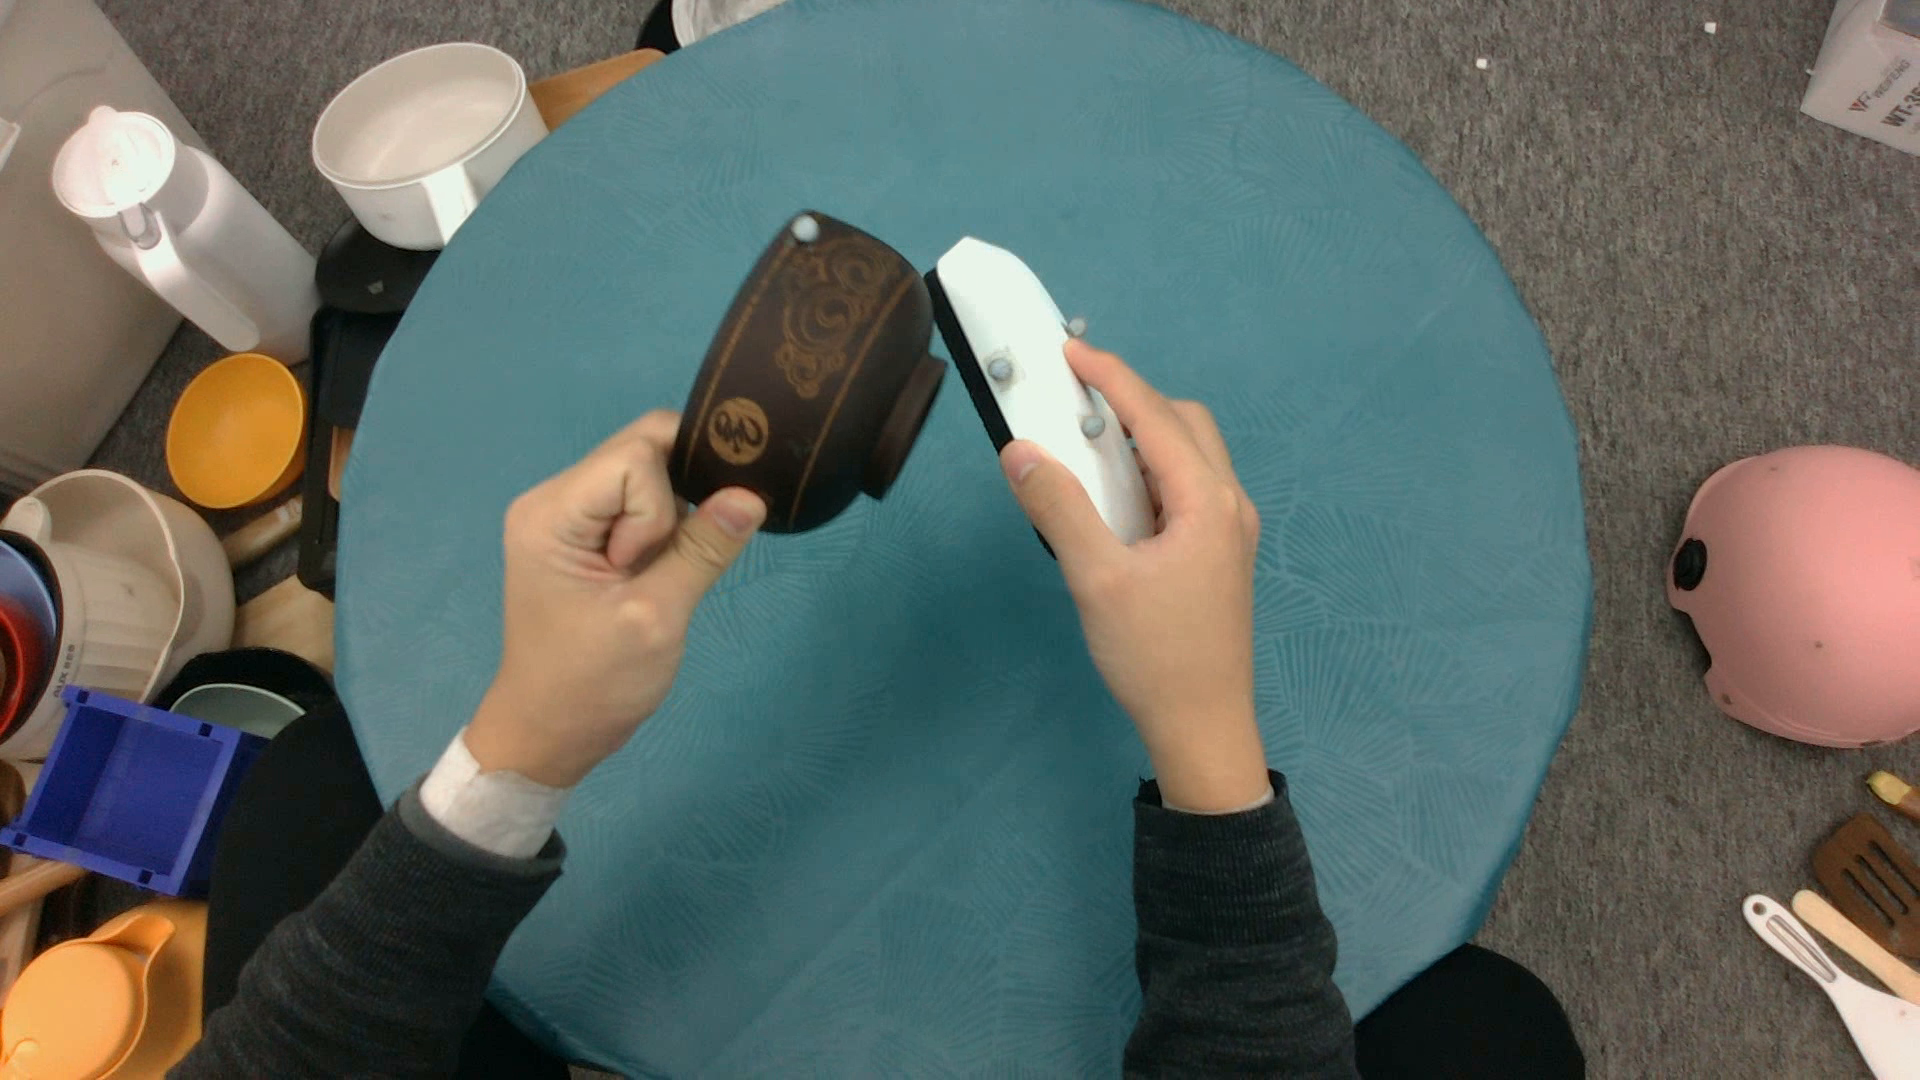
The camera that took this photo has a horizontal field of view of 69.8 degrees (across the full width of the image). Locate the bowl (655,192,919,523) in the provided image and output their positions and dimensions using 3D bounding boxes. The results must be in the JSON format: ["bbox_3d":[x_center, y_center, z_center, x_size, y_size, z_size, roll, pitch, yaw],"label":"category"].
[{"bbox_3d":[-0.057,-0.060,0.504,0.070,0.117,0.118,22,73,-9],"label":"bowl"}]

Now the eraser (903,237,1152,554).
[{"bbox_3d":[0.027,-0.057,0.527,0.034,0.063,0.131,-34,77,28],"label":"eraser"}]
